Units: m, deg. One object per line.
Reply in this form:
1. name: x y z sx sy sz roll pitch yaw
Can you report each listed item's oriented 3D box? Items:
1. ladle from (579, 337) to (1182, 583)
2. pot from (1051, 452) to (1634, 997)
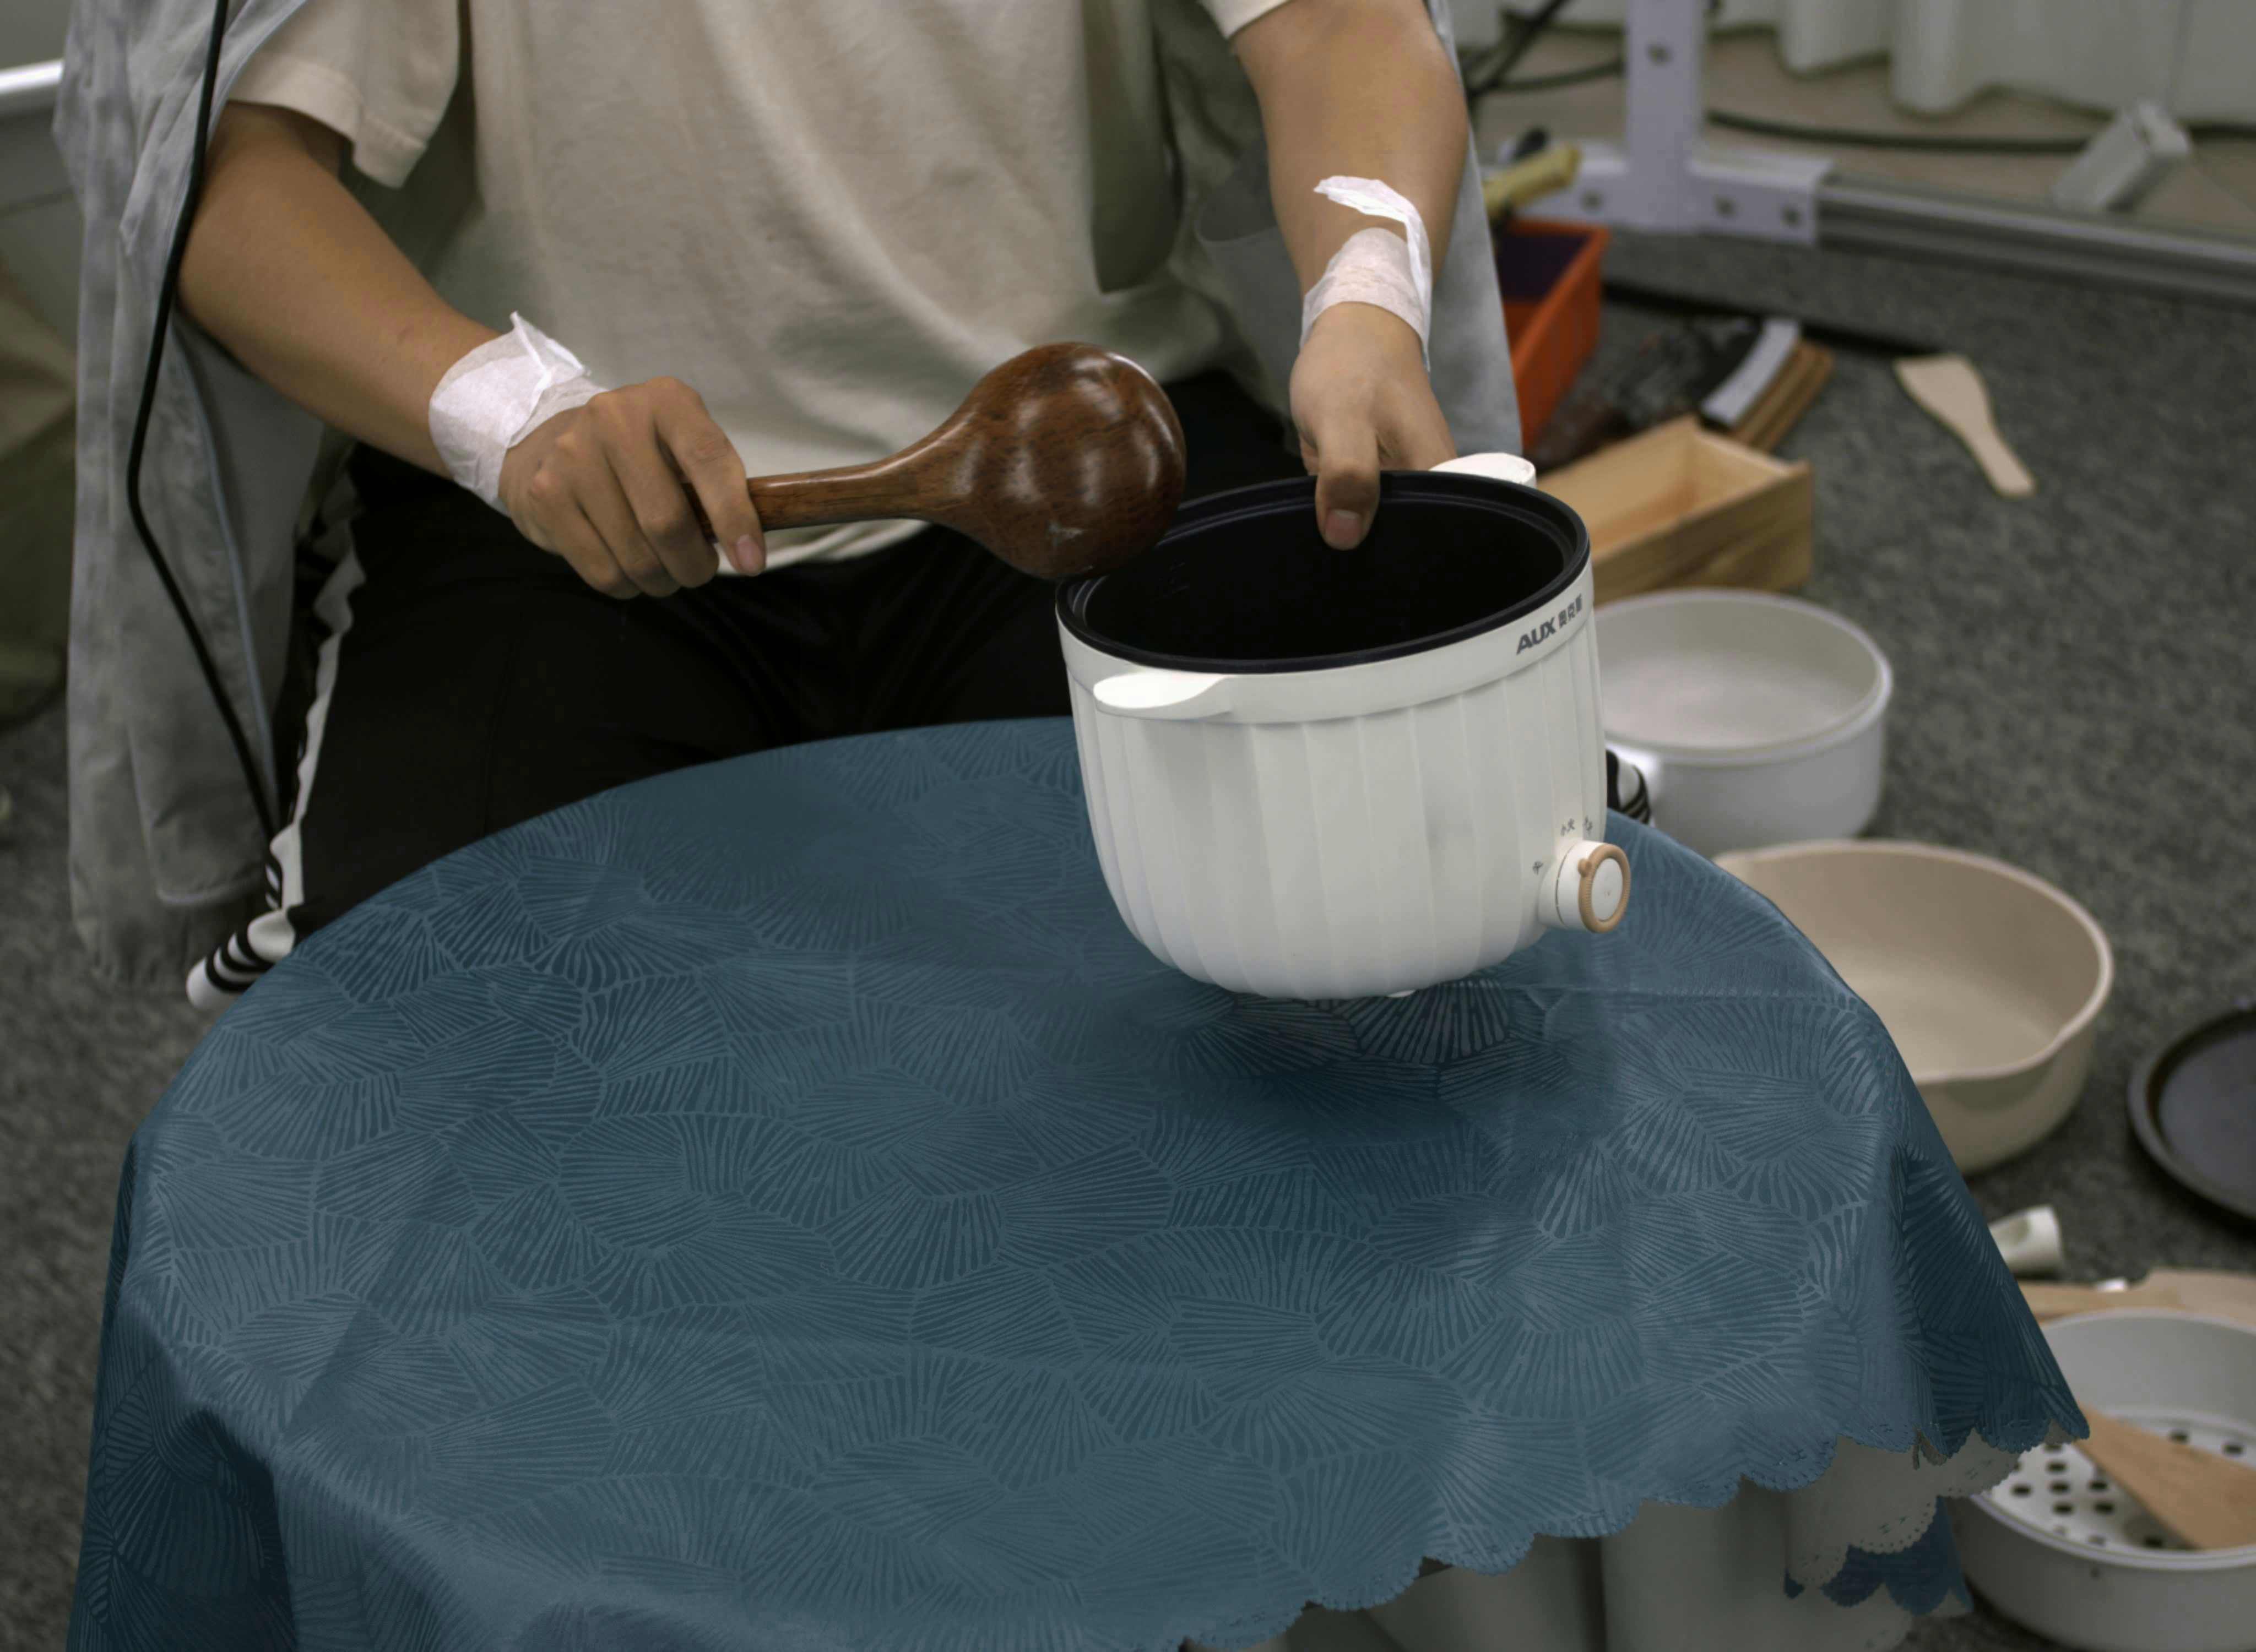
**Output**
1. ladle: -0.088 -0.116 1.973 0.077 0.082 0.271 -2 -3 -39
2. pot: 0.077 -0.029 1.908 0.189 0.141 0.244 4 25 35
